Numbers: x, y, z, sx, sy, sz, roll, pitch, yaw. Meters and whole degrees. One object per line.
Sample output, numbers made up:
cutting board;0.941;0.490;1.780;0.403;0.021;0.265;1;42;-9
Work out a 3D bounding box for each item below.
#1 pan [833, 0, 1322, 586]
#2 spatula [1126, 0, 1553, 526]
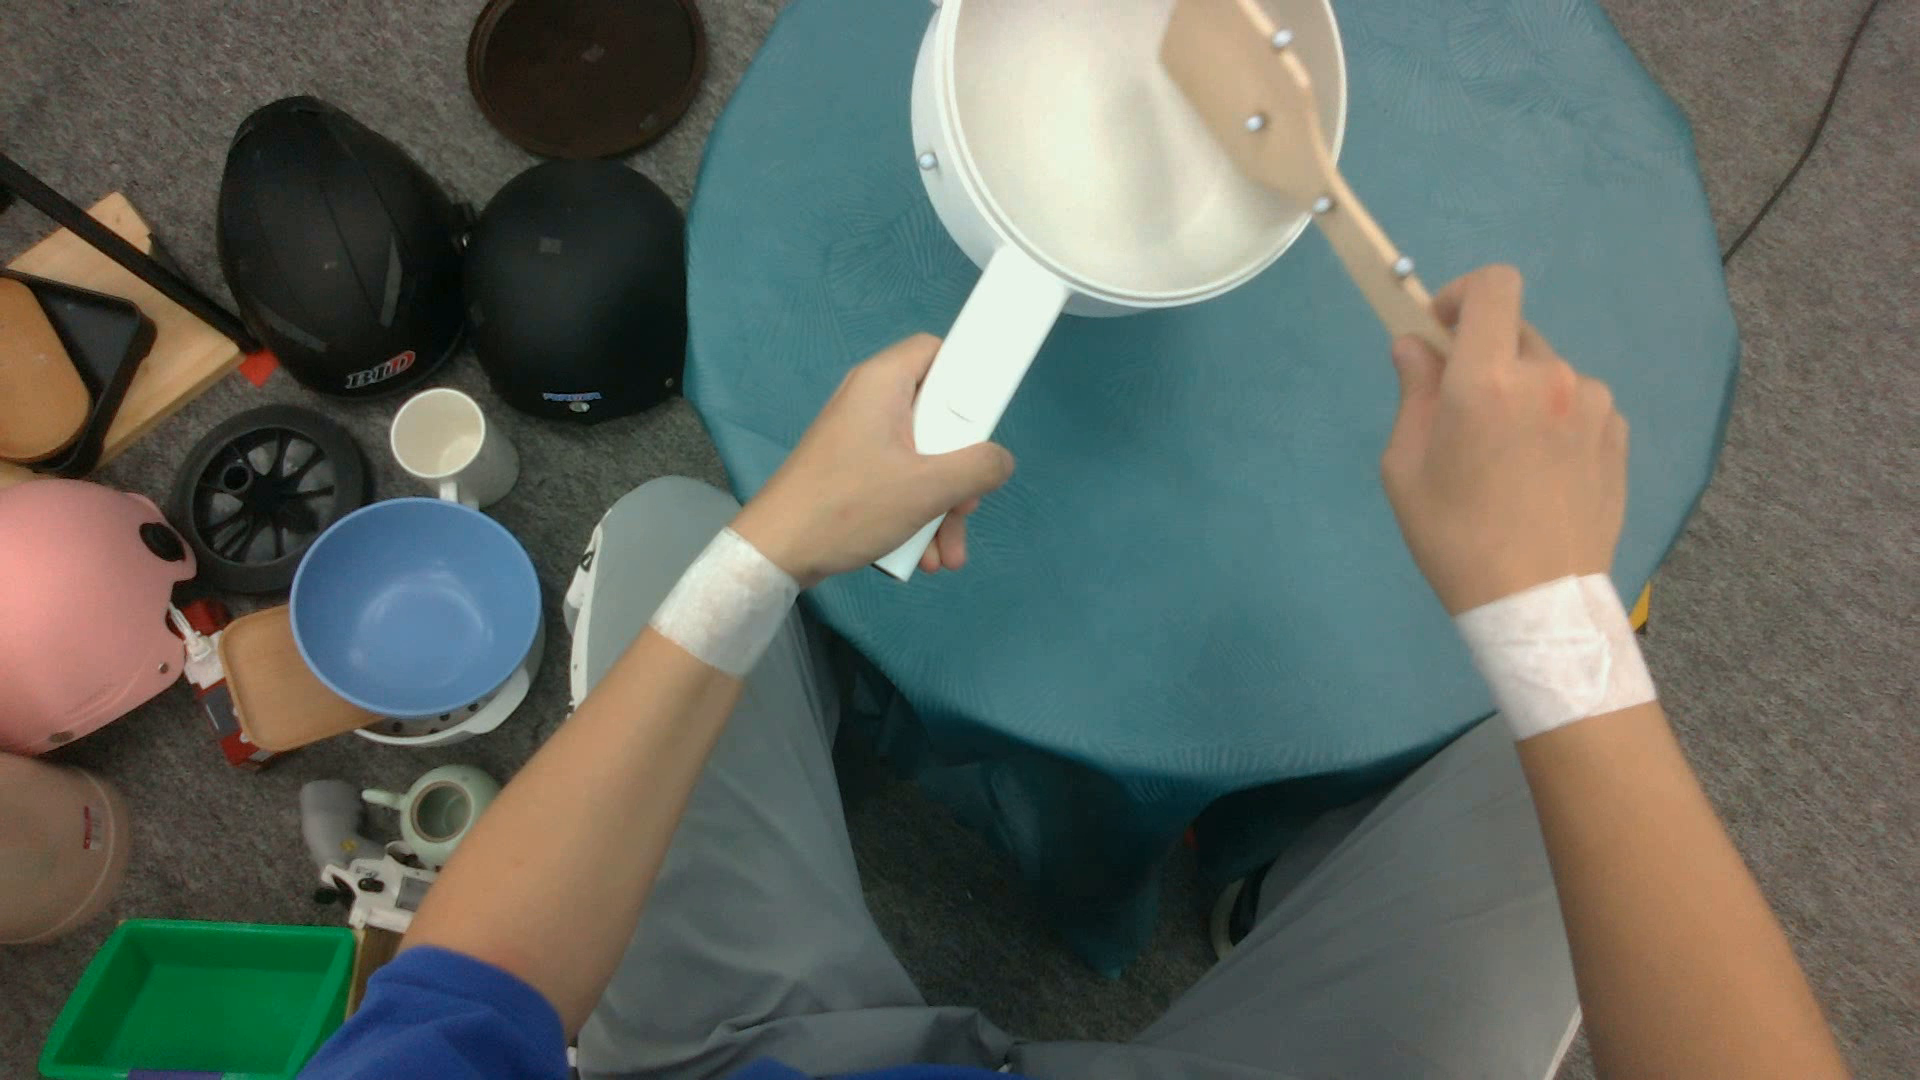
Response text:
pan;0.035;-0.142;0.687;0.201;0.102;0.355;30;84;-15
spatula;0.167;-0.126;0.619;0.011;0.072;0.293;-28;73;-20
